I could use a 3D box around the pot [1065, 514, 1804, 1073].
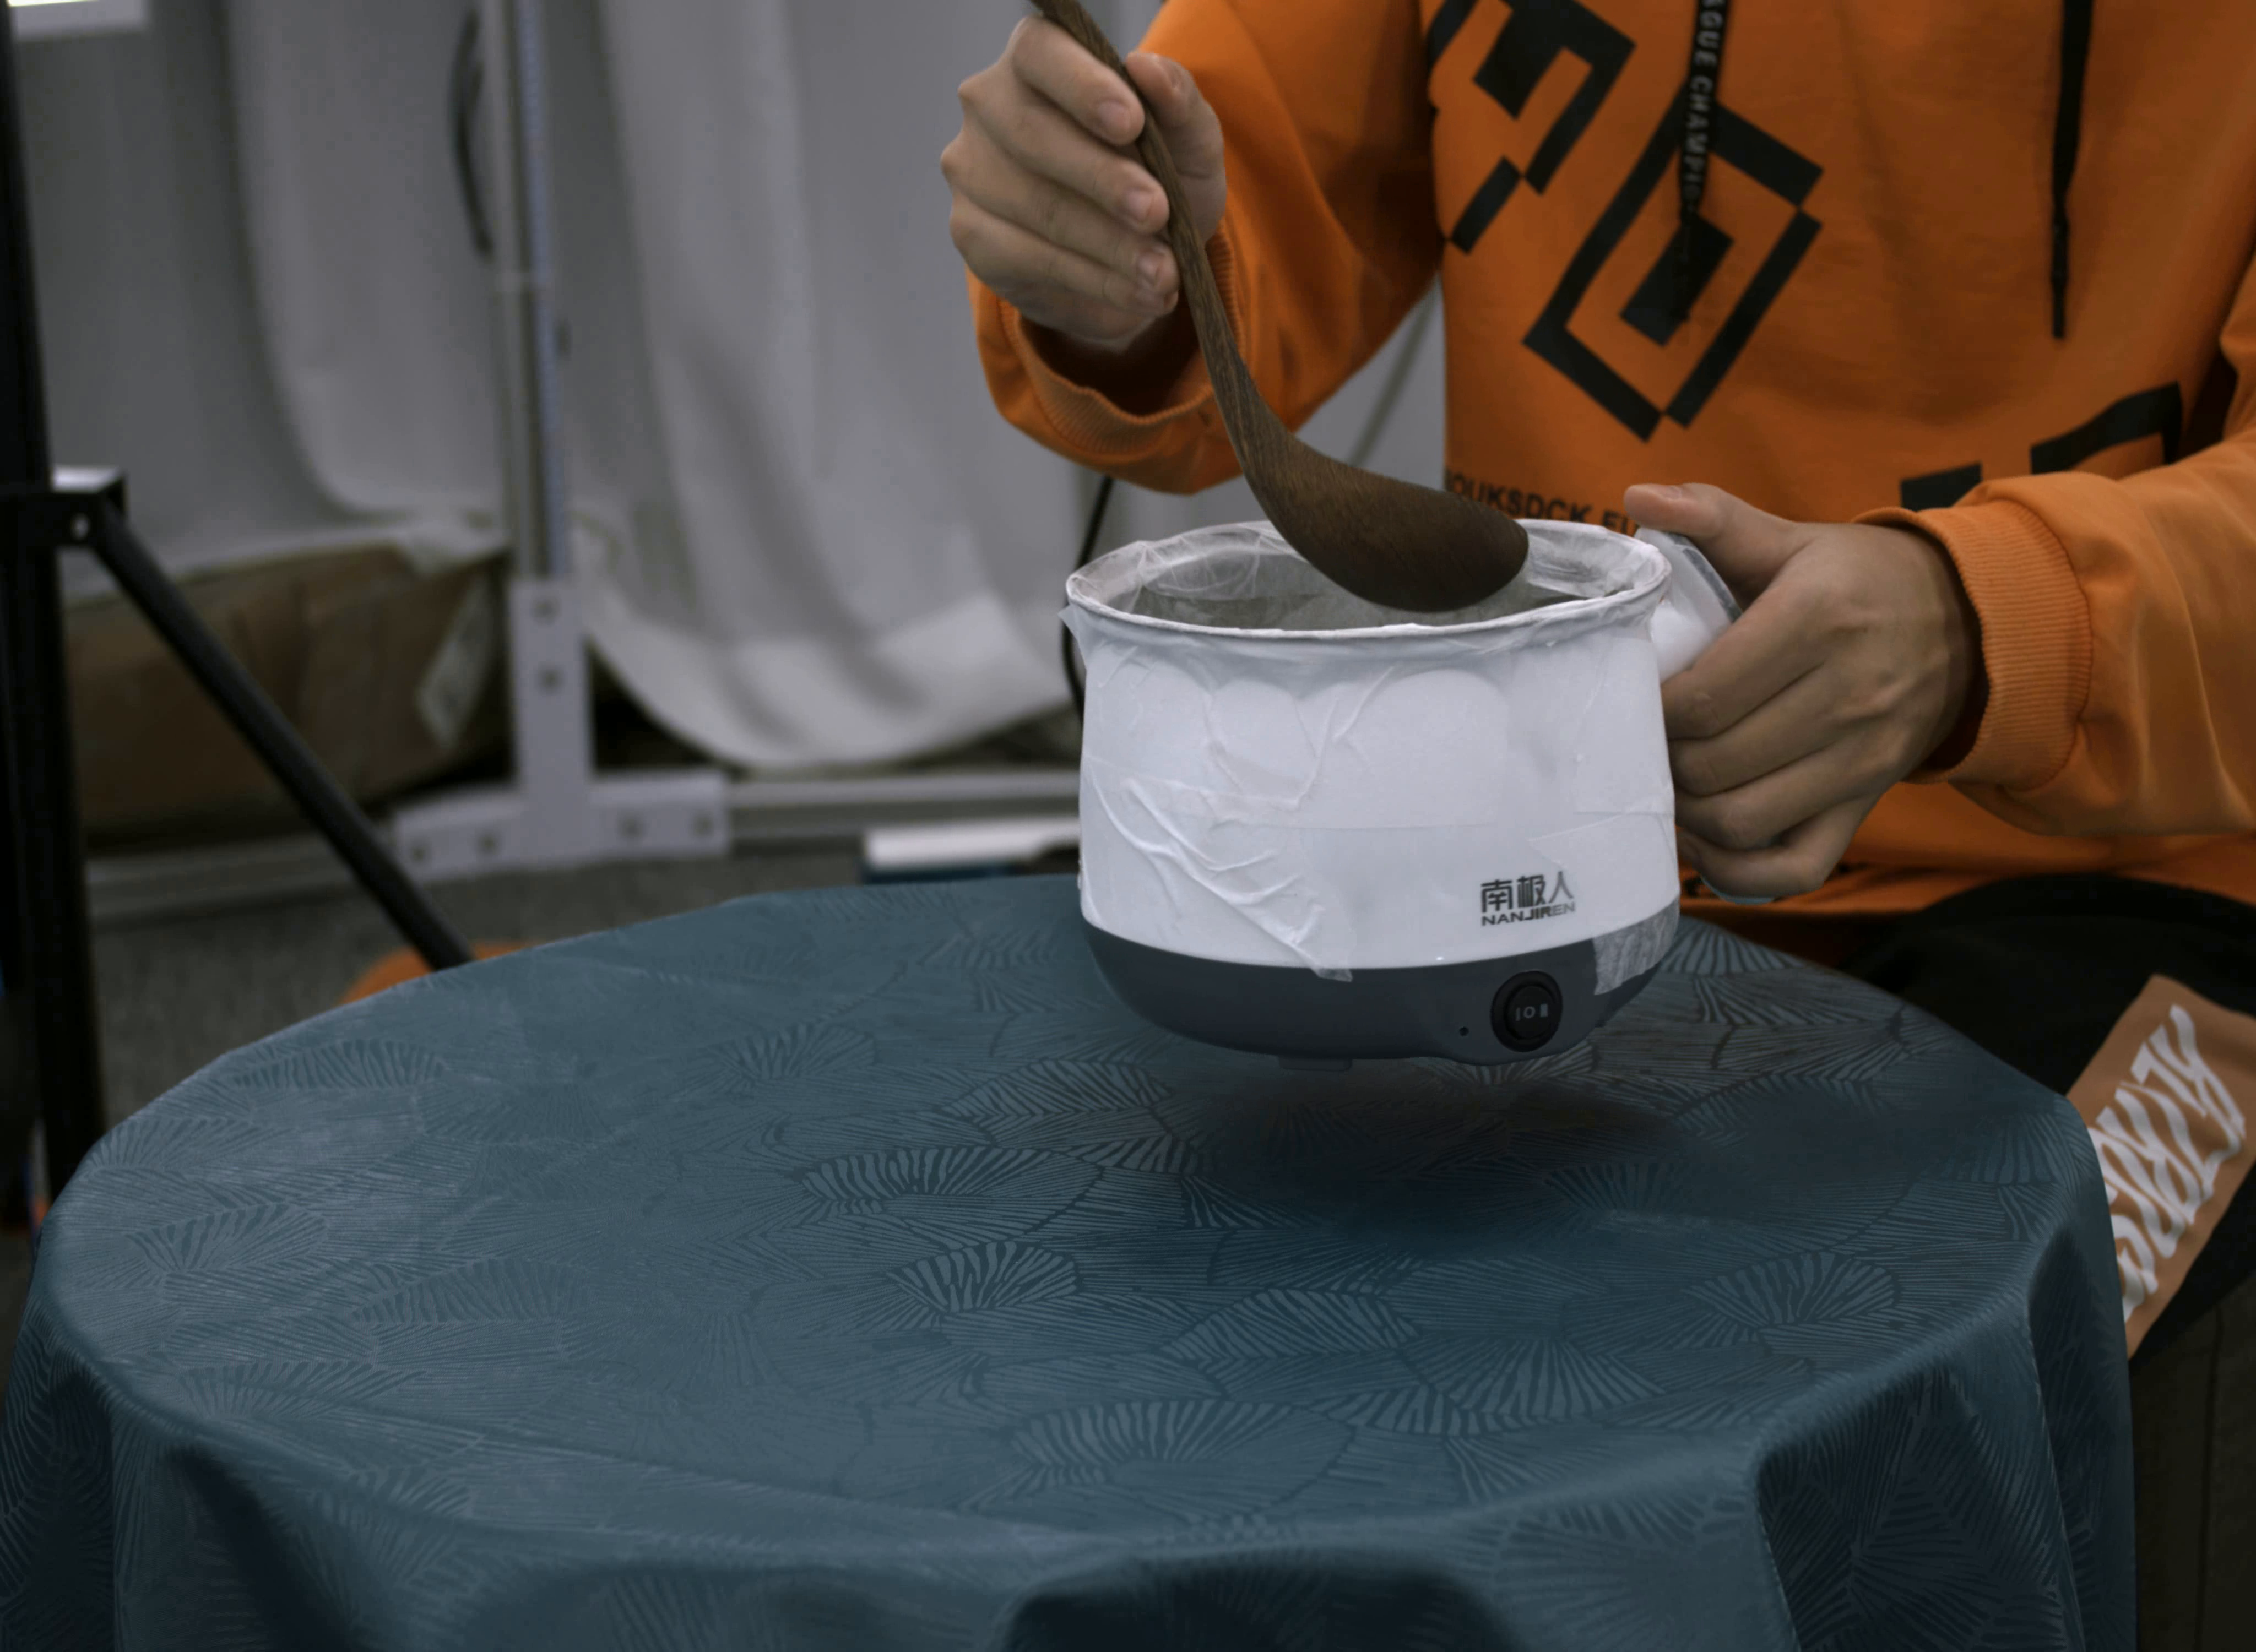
[{"bbox_3d":[0.096,-0.016,1.572,0.229,0.136,0.182,-9,15,-25],"label":"pot"}]

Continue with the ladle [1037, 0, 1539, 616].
[{"bbox_3d":[0.034,-0.181,1.591,0.071,0.278,0.075,-24,-17,-6],"label":"ladle"}]
